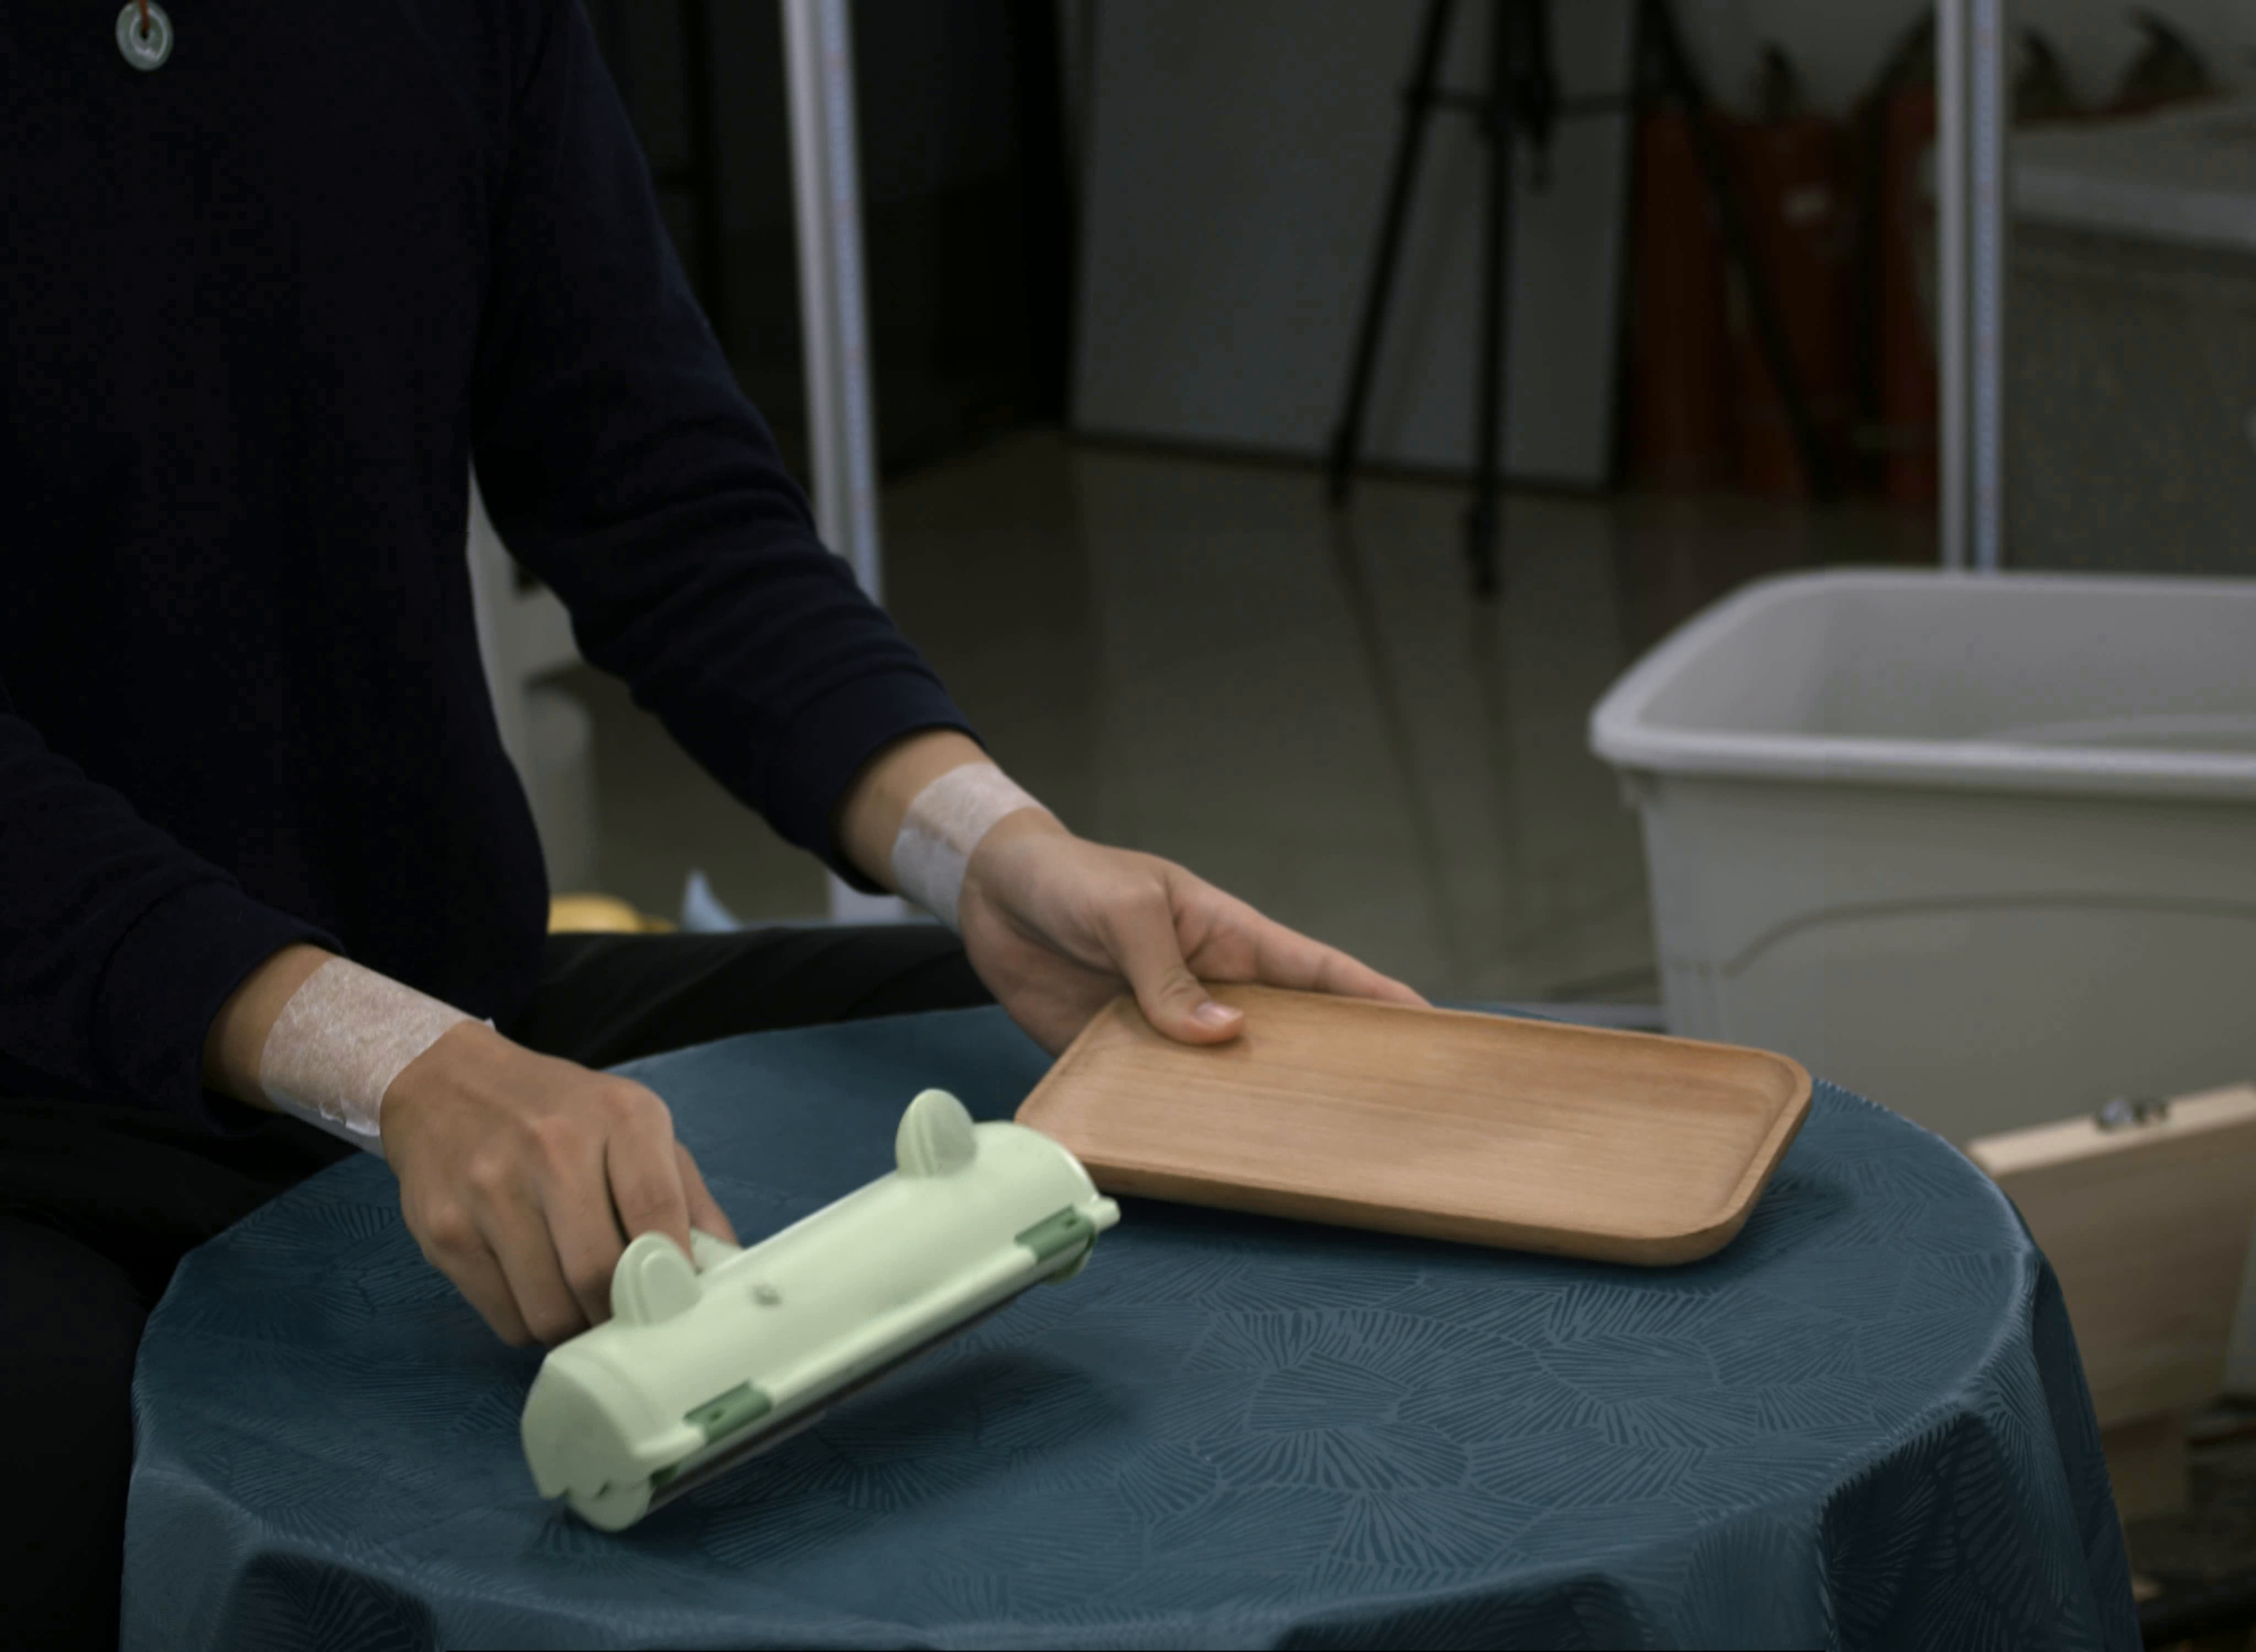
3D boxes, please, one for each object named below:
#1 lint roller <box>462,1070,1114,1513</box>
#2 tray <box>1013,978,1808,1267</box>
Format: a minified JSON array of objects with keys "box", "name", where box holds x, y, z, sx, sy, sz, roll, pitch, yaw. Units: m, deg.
[{"box":[-0.130,0.113,1.586,0.185,0.083,0.195,23,33,36],"name":"lint roller"},{"box":[0.090,0.095,1.744,0.251,0.023,0.129,5,26,25],"name":"tray"}]
